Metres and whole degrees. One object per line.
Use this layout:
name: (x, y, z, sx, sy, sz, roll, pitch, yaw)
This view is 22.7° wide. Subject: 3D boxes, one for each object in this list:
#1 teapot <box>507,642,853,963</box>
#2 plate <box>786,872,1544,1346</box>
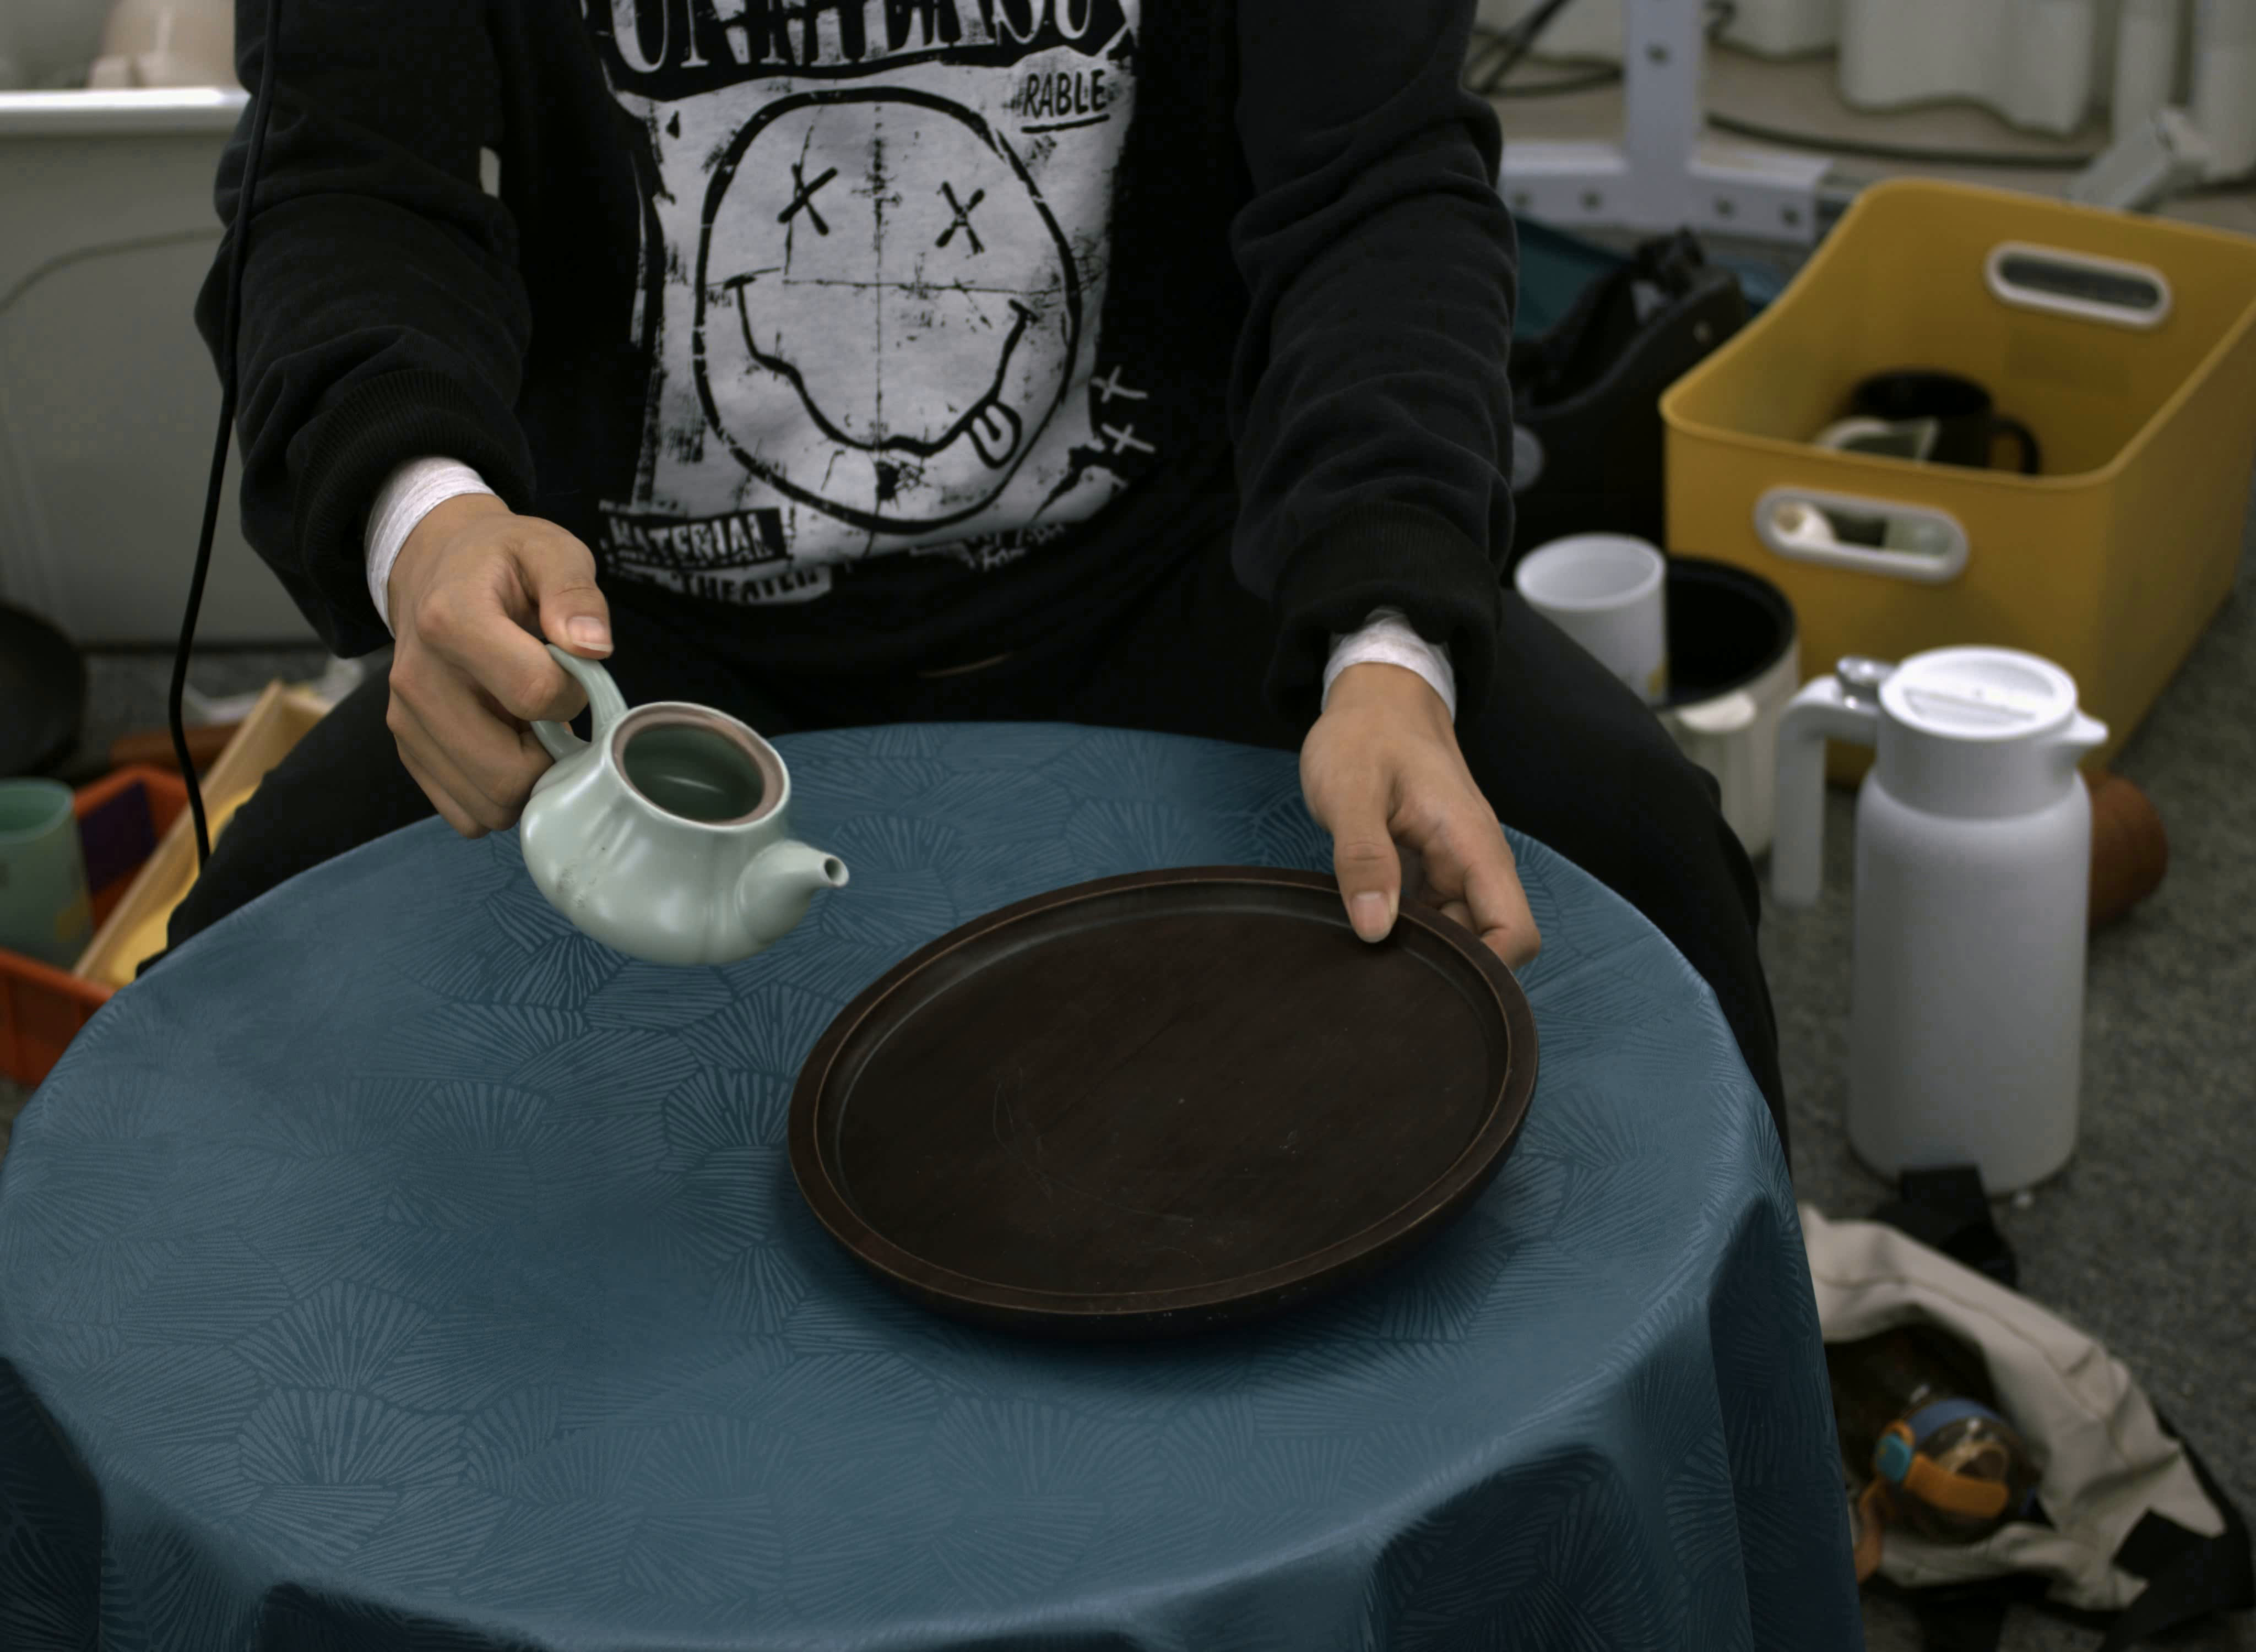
teapot: (-0.150, -0.005, 1.816, 0.137, 0.060, 0.097, 37, 40, 17)
plate: (0.012, 0.091, 1.862, 0.253, 0.028, 0.259, -6, 33, 5)
